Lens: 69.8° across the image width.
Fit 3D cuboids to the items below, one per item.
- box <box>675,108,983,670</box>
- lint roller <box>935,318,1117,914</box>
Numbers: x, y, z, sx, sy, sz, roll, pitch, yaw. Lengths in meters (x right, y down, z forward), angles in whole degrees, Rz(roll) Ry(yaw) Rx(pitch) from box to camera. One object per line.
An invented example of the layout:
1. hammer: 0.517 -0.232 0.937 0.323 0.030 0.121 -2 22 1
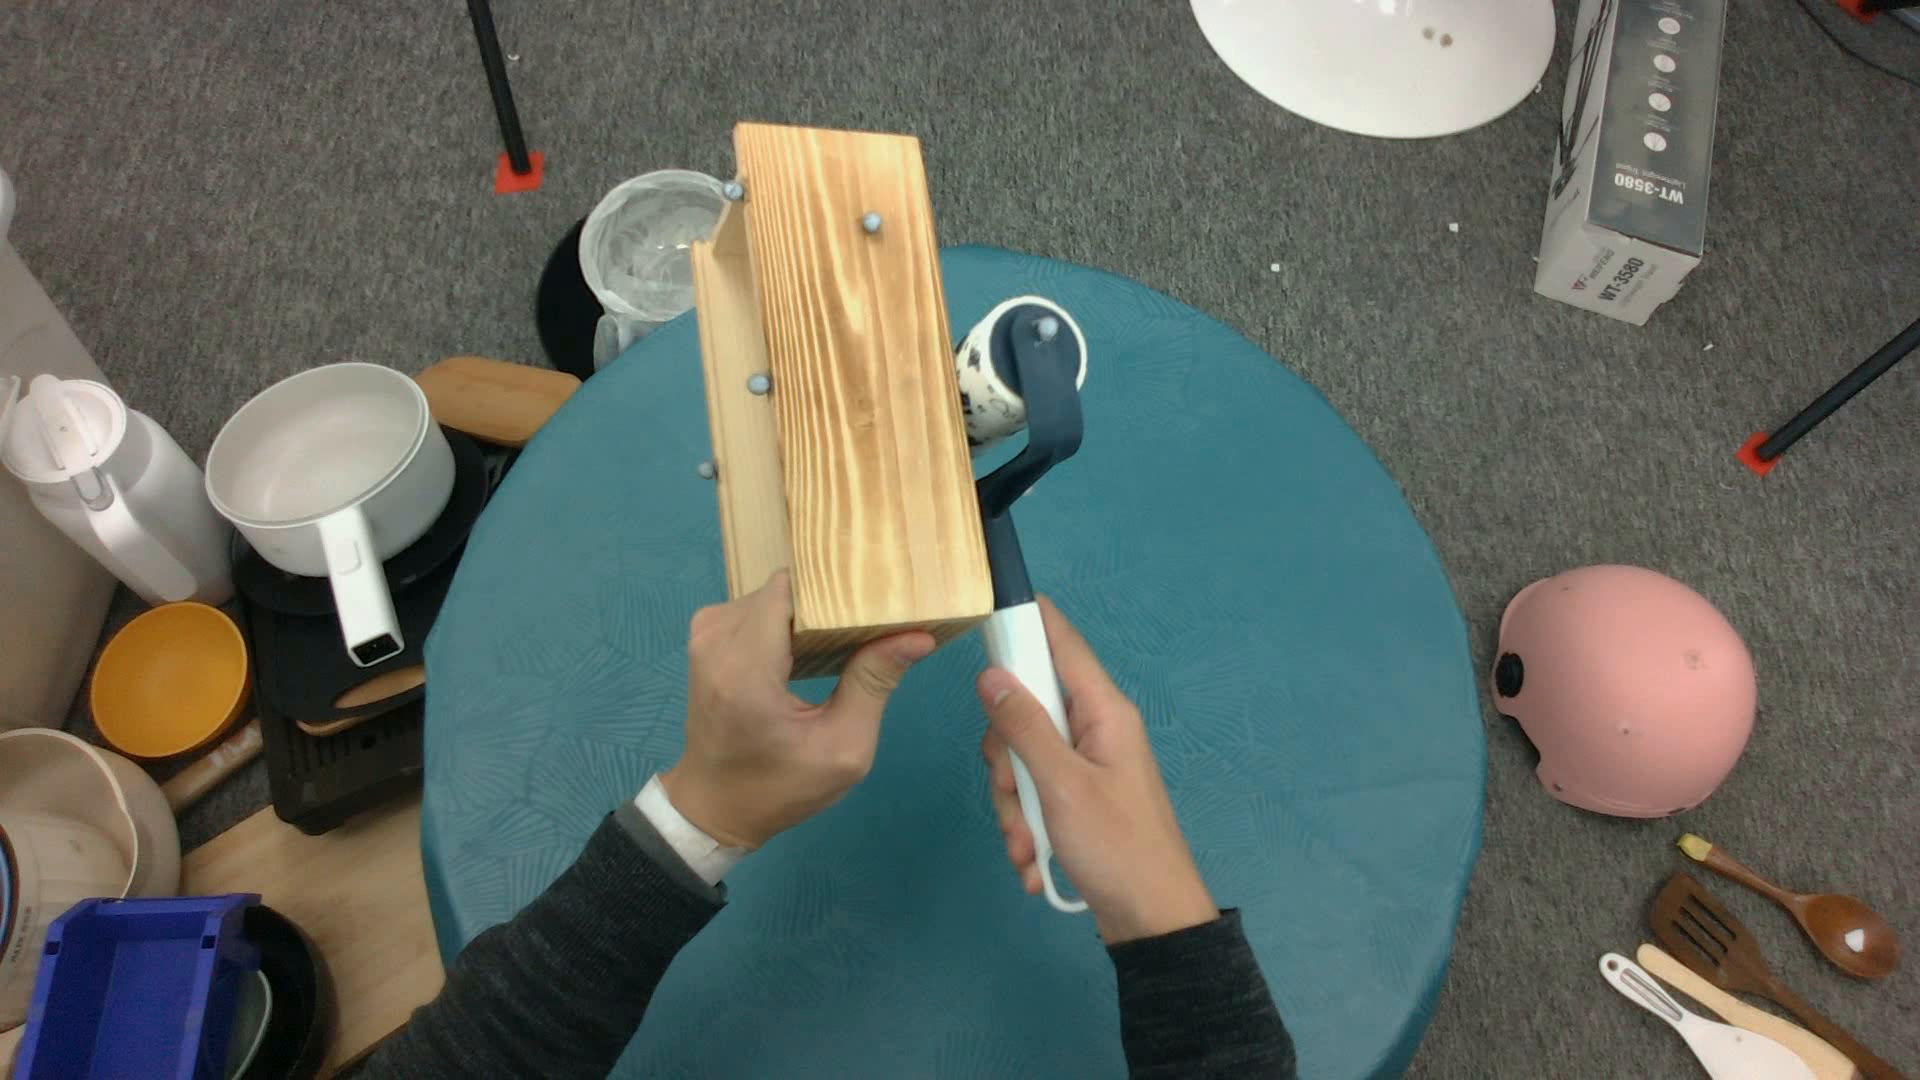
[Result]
1. box: -0.062 -0.062 0.588 0.080 0.107 0.212 -4 75 -23
2. lint roller: 0.027 0.042 0.614 0.050 0.175 0.247 -18 86 -21
